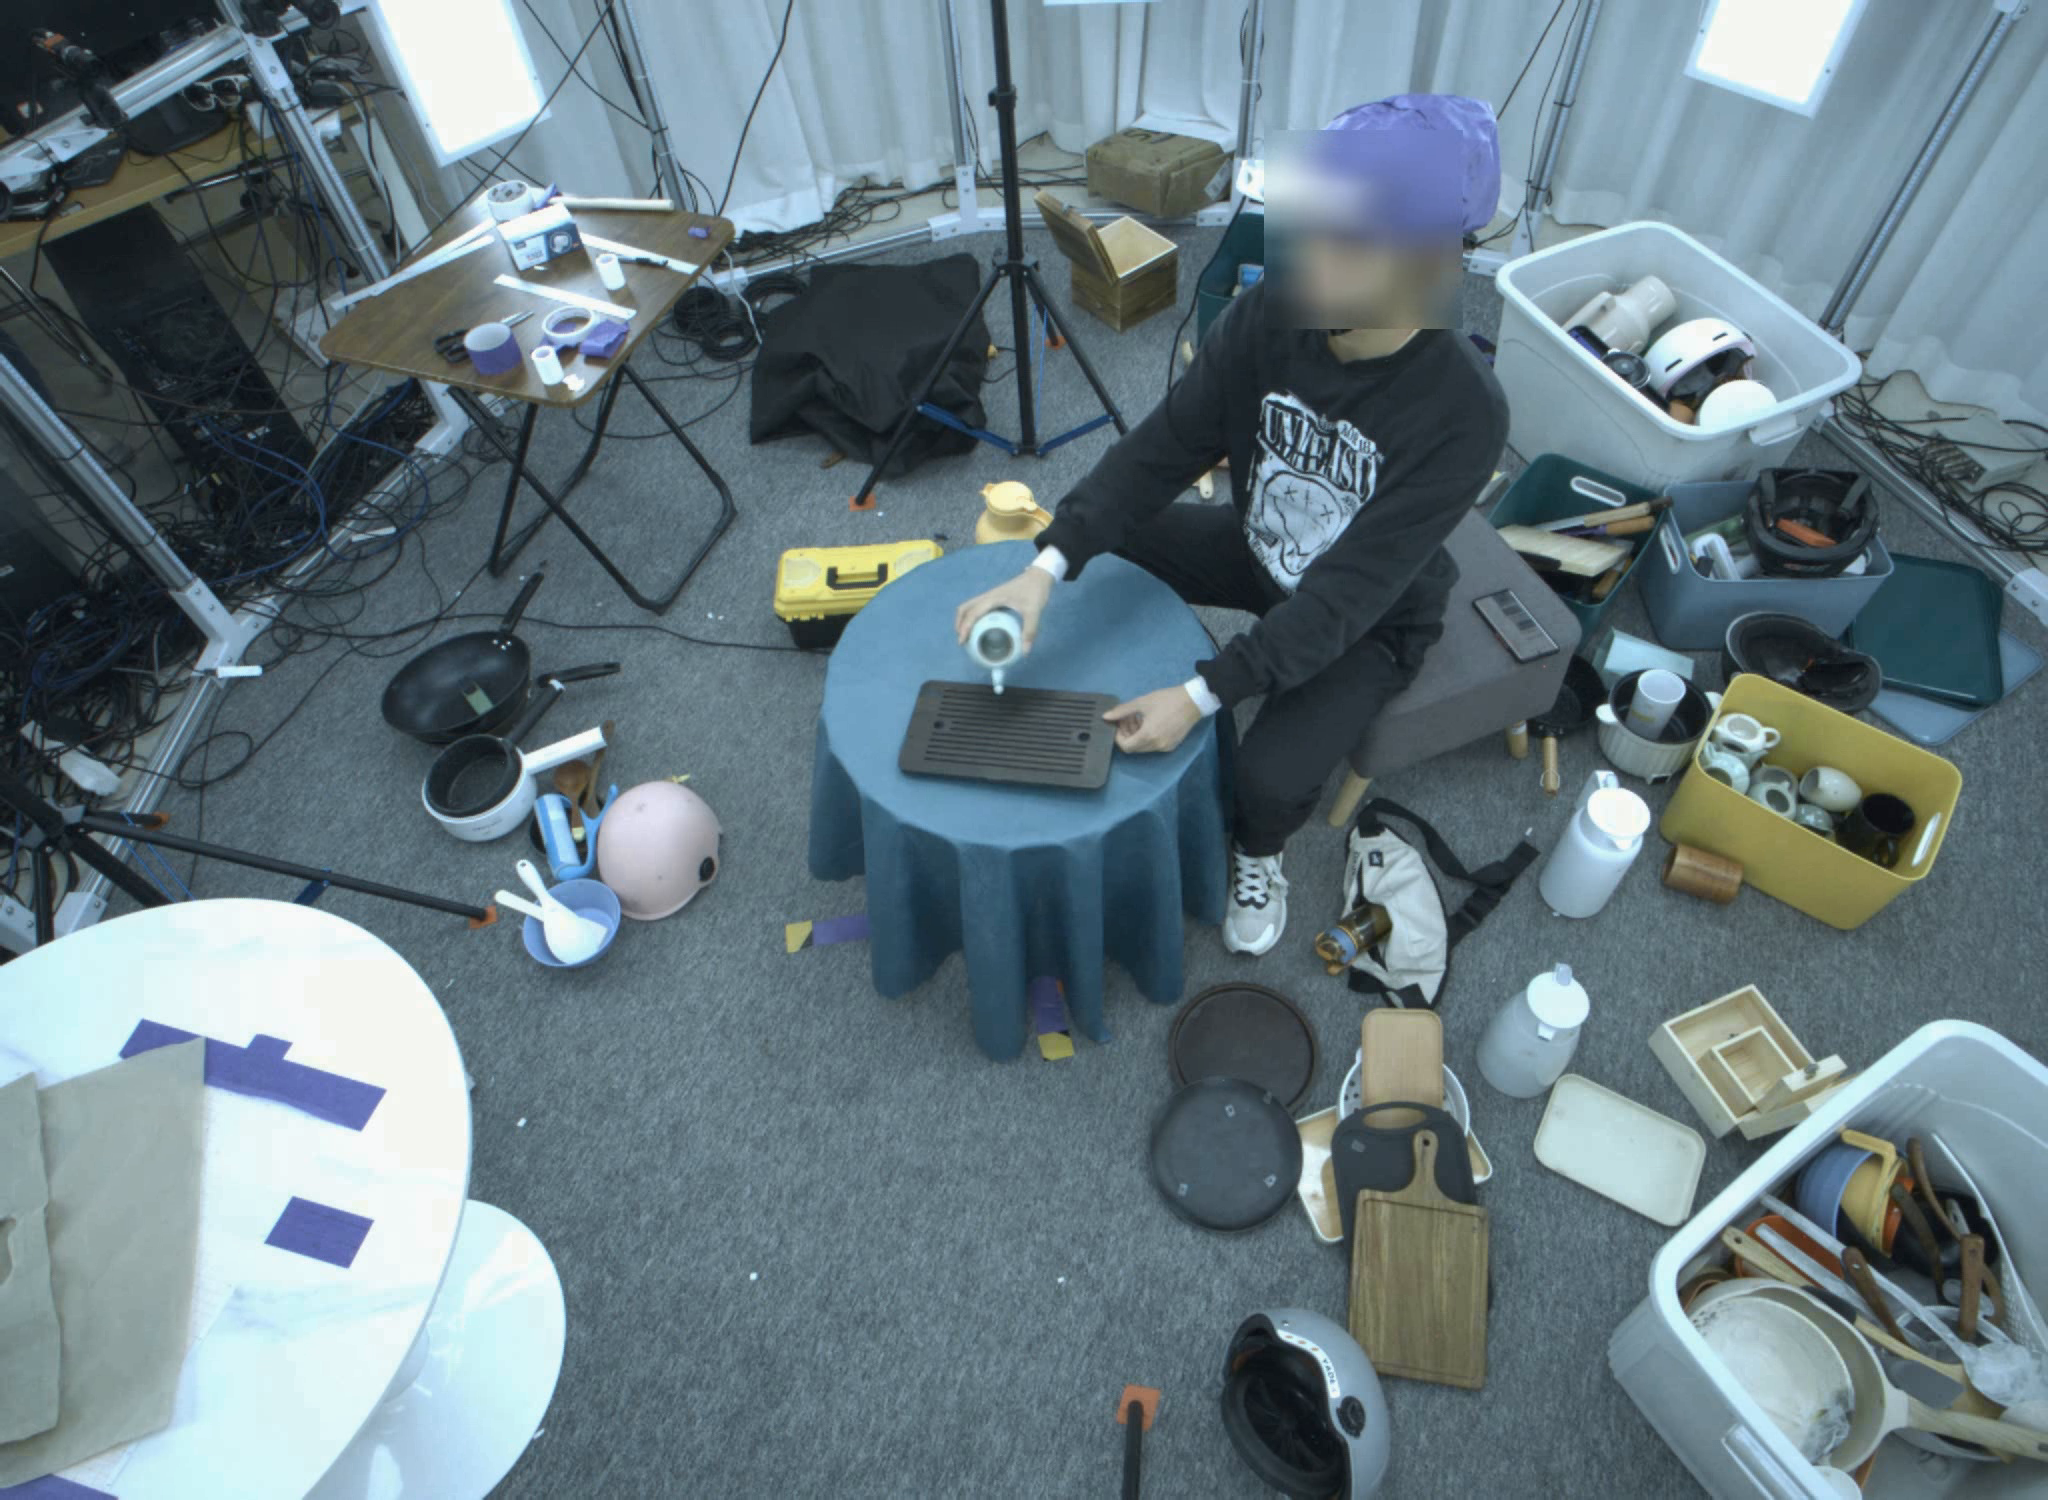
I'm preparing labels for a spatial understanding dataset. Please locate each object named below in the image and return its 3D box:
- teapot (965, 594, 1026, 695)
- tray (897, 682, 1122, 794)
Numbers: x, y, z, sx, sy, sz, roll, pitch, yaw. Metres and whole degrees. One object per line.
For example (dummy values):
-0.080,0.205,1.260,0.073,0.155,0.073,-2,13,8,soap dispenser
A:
-0.041,-0.157,1.773,0.088,0.145,0.074,-3,23,-3,teapot
-0.019,-0.018,1.777,0.304,0.019,0.169,6,55,9,tray
